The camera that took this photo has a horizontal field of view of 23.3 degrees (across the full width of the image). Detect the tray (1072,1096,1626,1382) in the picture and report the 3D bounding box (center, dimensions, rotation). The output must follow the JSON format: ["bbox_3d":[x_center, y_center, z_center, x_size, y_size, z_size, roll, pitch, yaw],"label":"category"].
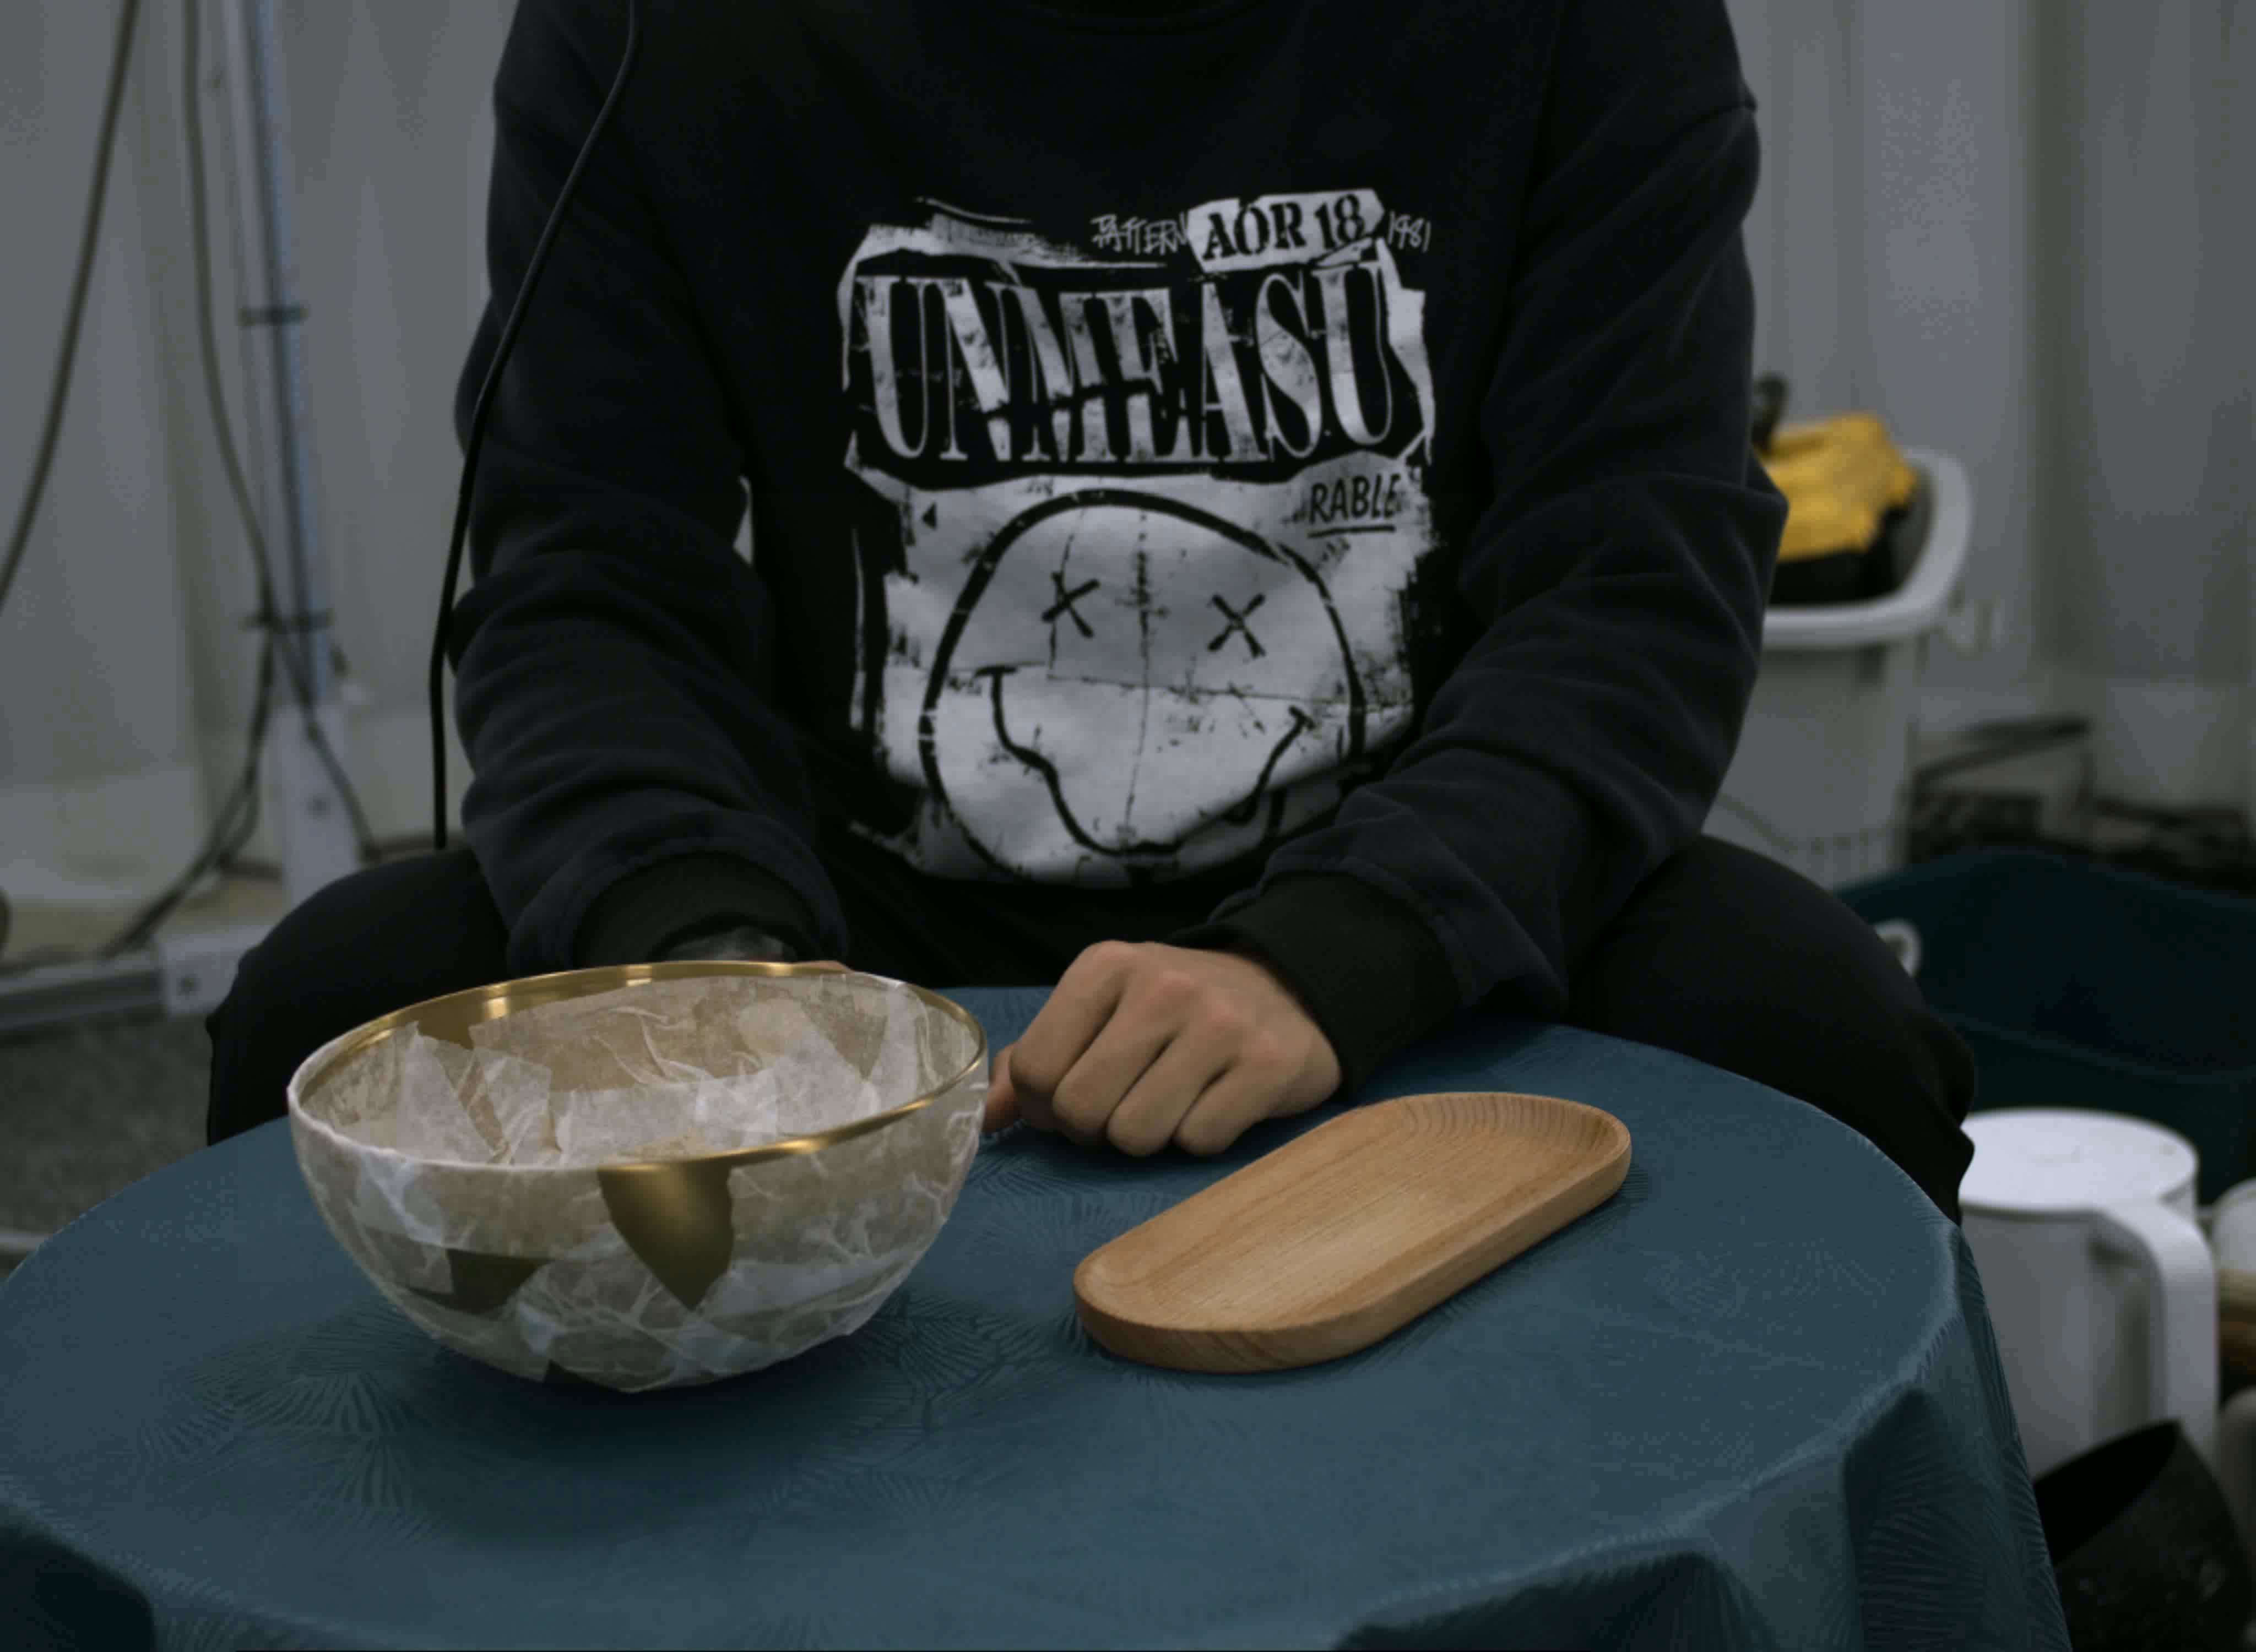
[{"bbox_3d":[0.069,0.122,1.644,0.102,0.020,0.231,4,18,32],"label":"tray"}]

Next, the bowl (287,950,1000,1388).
[{"bbox_3d":[-0.134,0.108,1.584,0.214,0.094,0.216,-4,14,1],"label":"bowl"}]
